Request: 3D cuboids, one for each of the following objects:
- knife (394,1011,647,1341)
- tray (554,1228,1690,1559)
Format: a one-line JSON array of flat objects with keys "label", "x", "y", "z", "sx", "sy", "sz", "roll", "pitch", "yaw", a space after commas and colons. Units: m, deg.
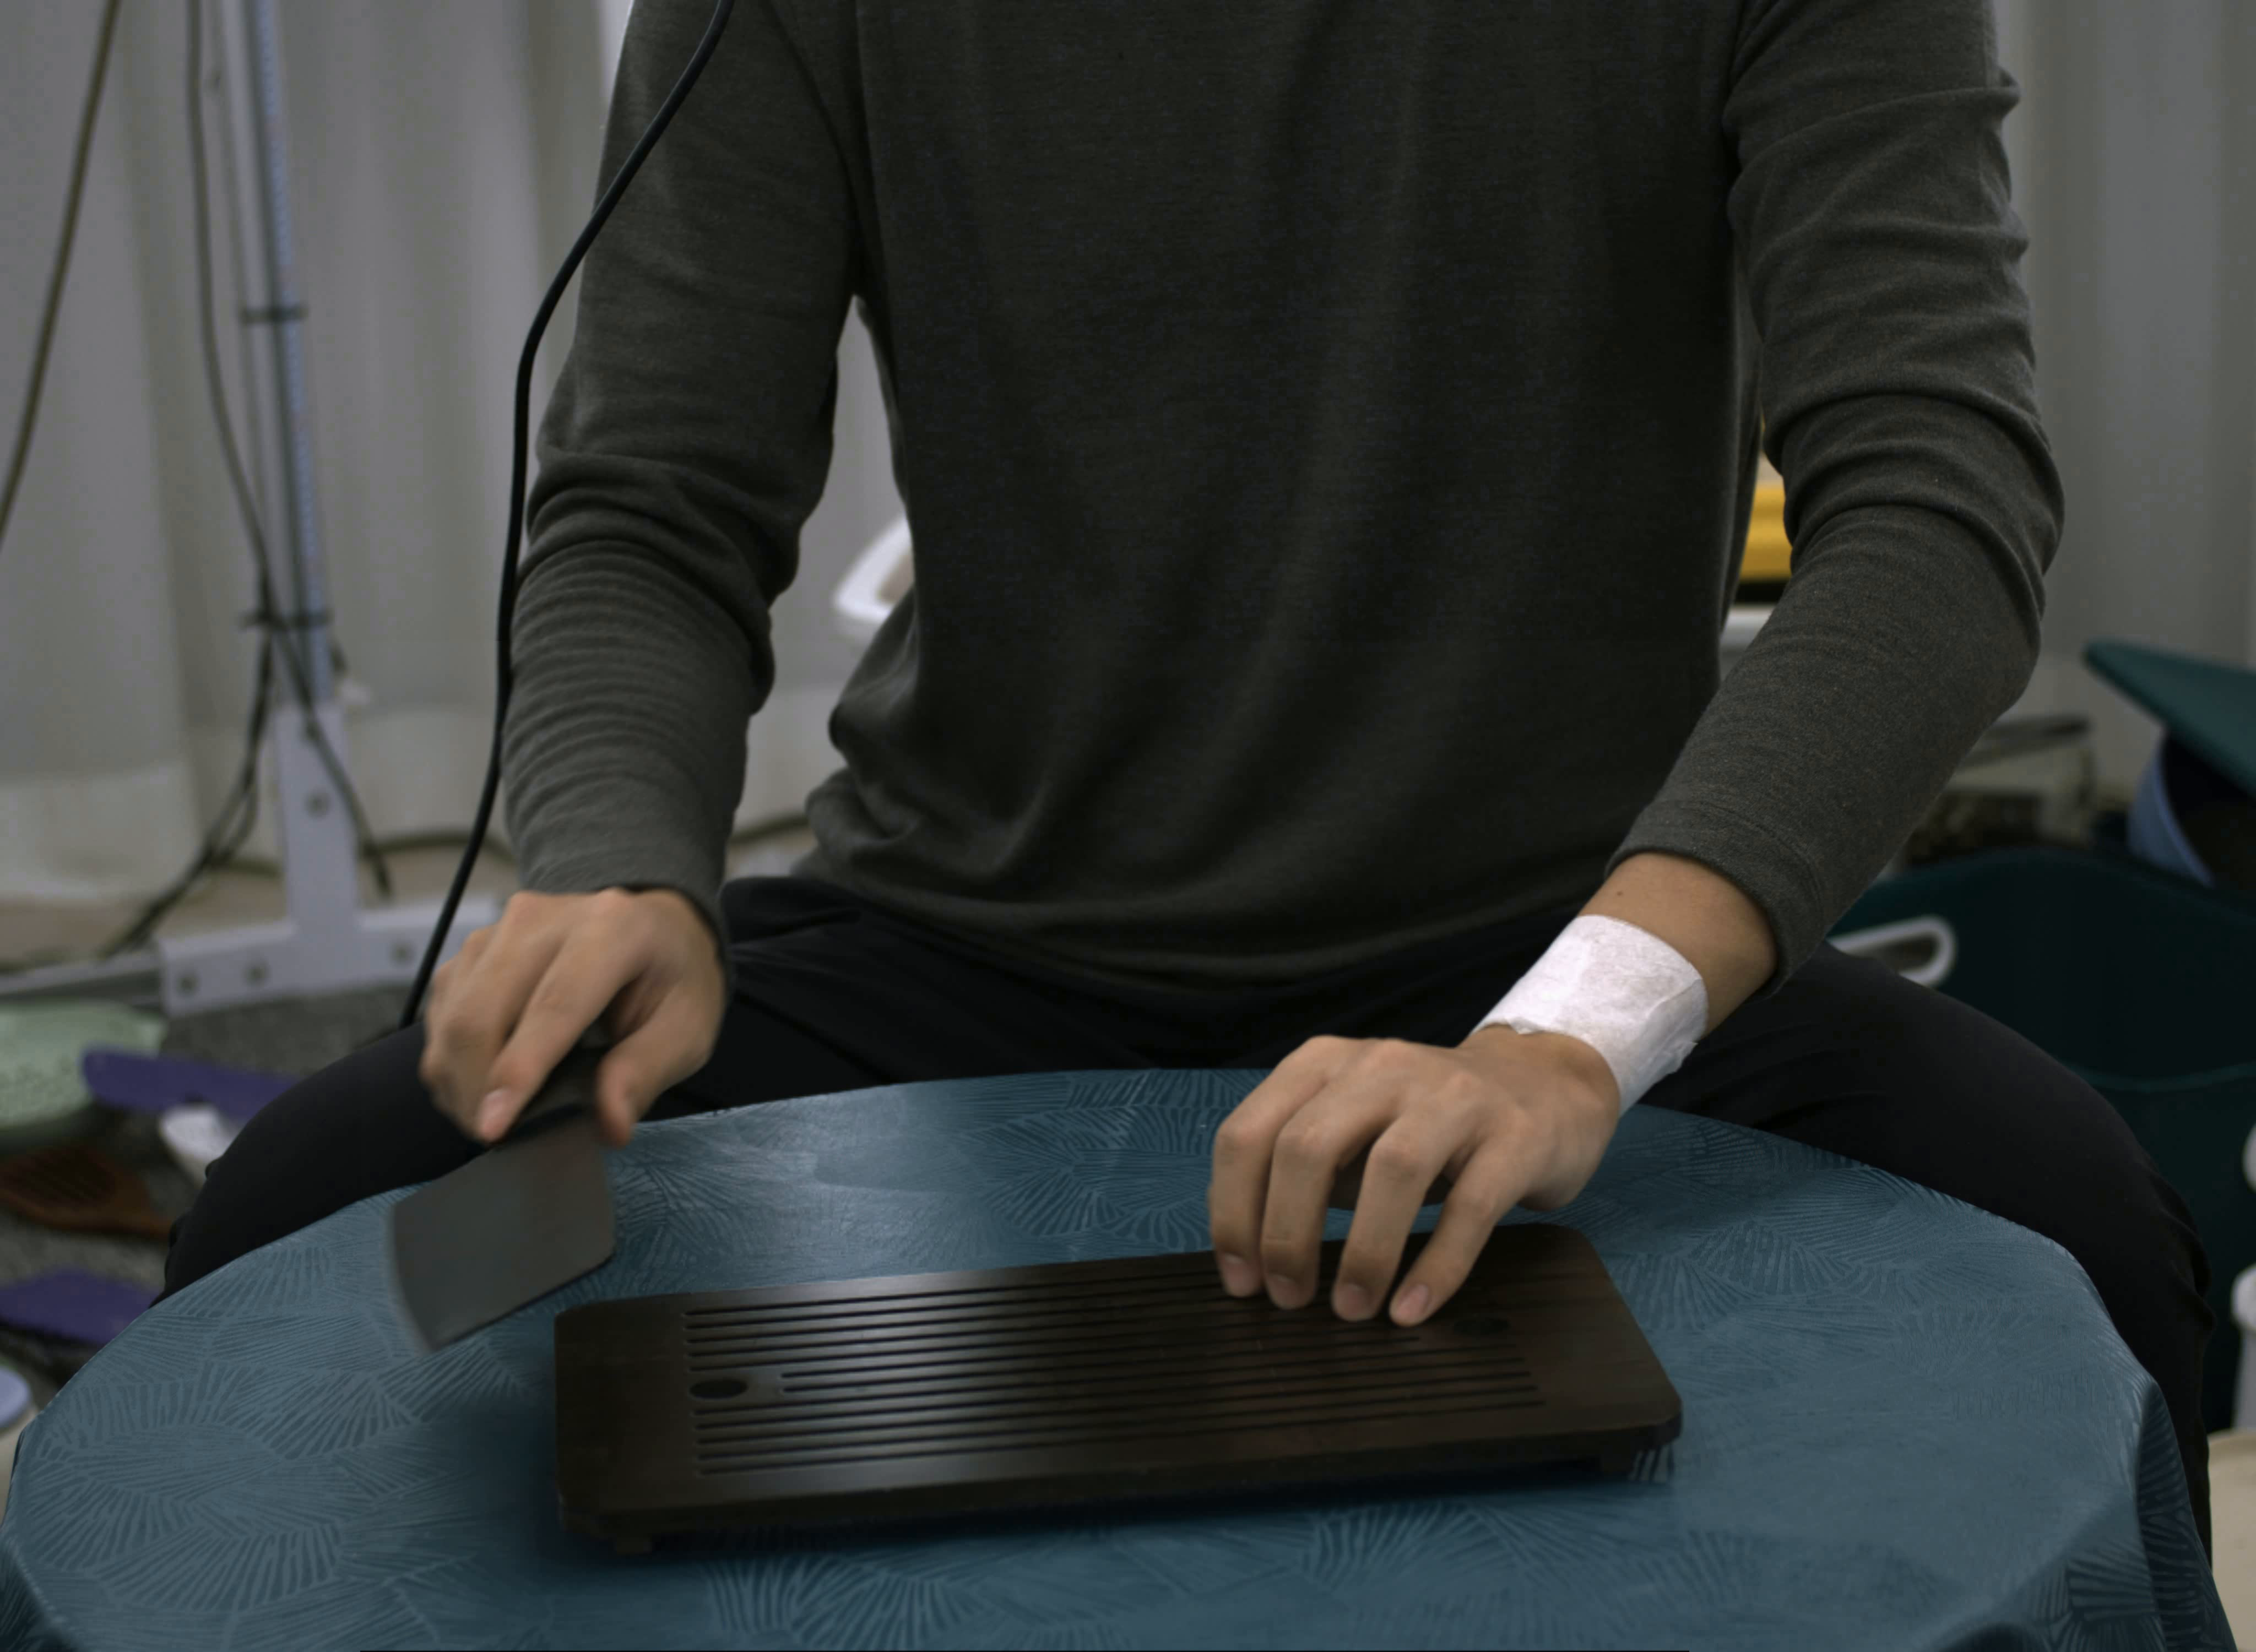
[{"label": "knife", "x": -0.173, "y": 0.097, "z": 1.557, "sx": 0.081, "sy": 0.021, "sz": 0.304, "roll": -27, "pitch": 12, "yaw": 0}, {"label": "tray", "x": -0.007, "y": 0.157, "z": 1.523, "sx": 0.305, "sy": 0.018, "sz": 0.171, "roll": -4, "pitch": 14, "yaw": -5}]
